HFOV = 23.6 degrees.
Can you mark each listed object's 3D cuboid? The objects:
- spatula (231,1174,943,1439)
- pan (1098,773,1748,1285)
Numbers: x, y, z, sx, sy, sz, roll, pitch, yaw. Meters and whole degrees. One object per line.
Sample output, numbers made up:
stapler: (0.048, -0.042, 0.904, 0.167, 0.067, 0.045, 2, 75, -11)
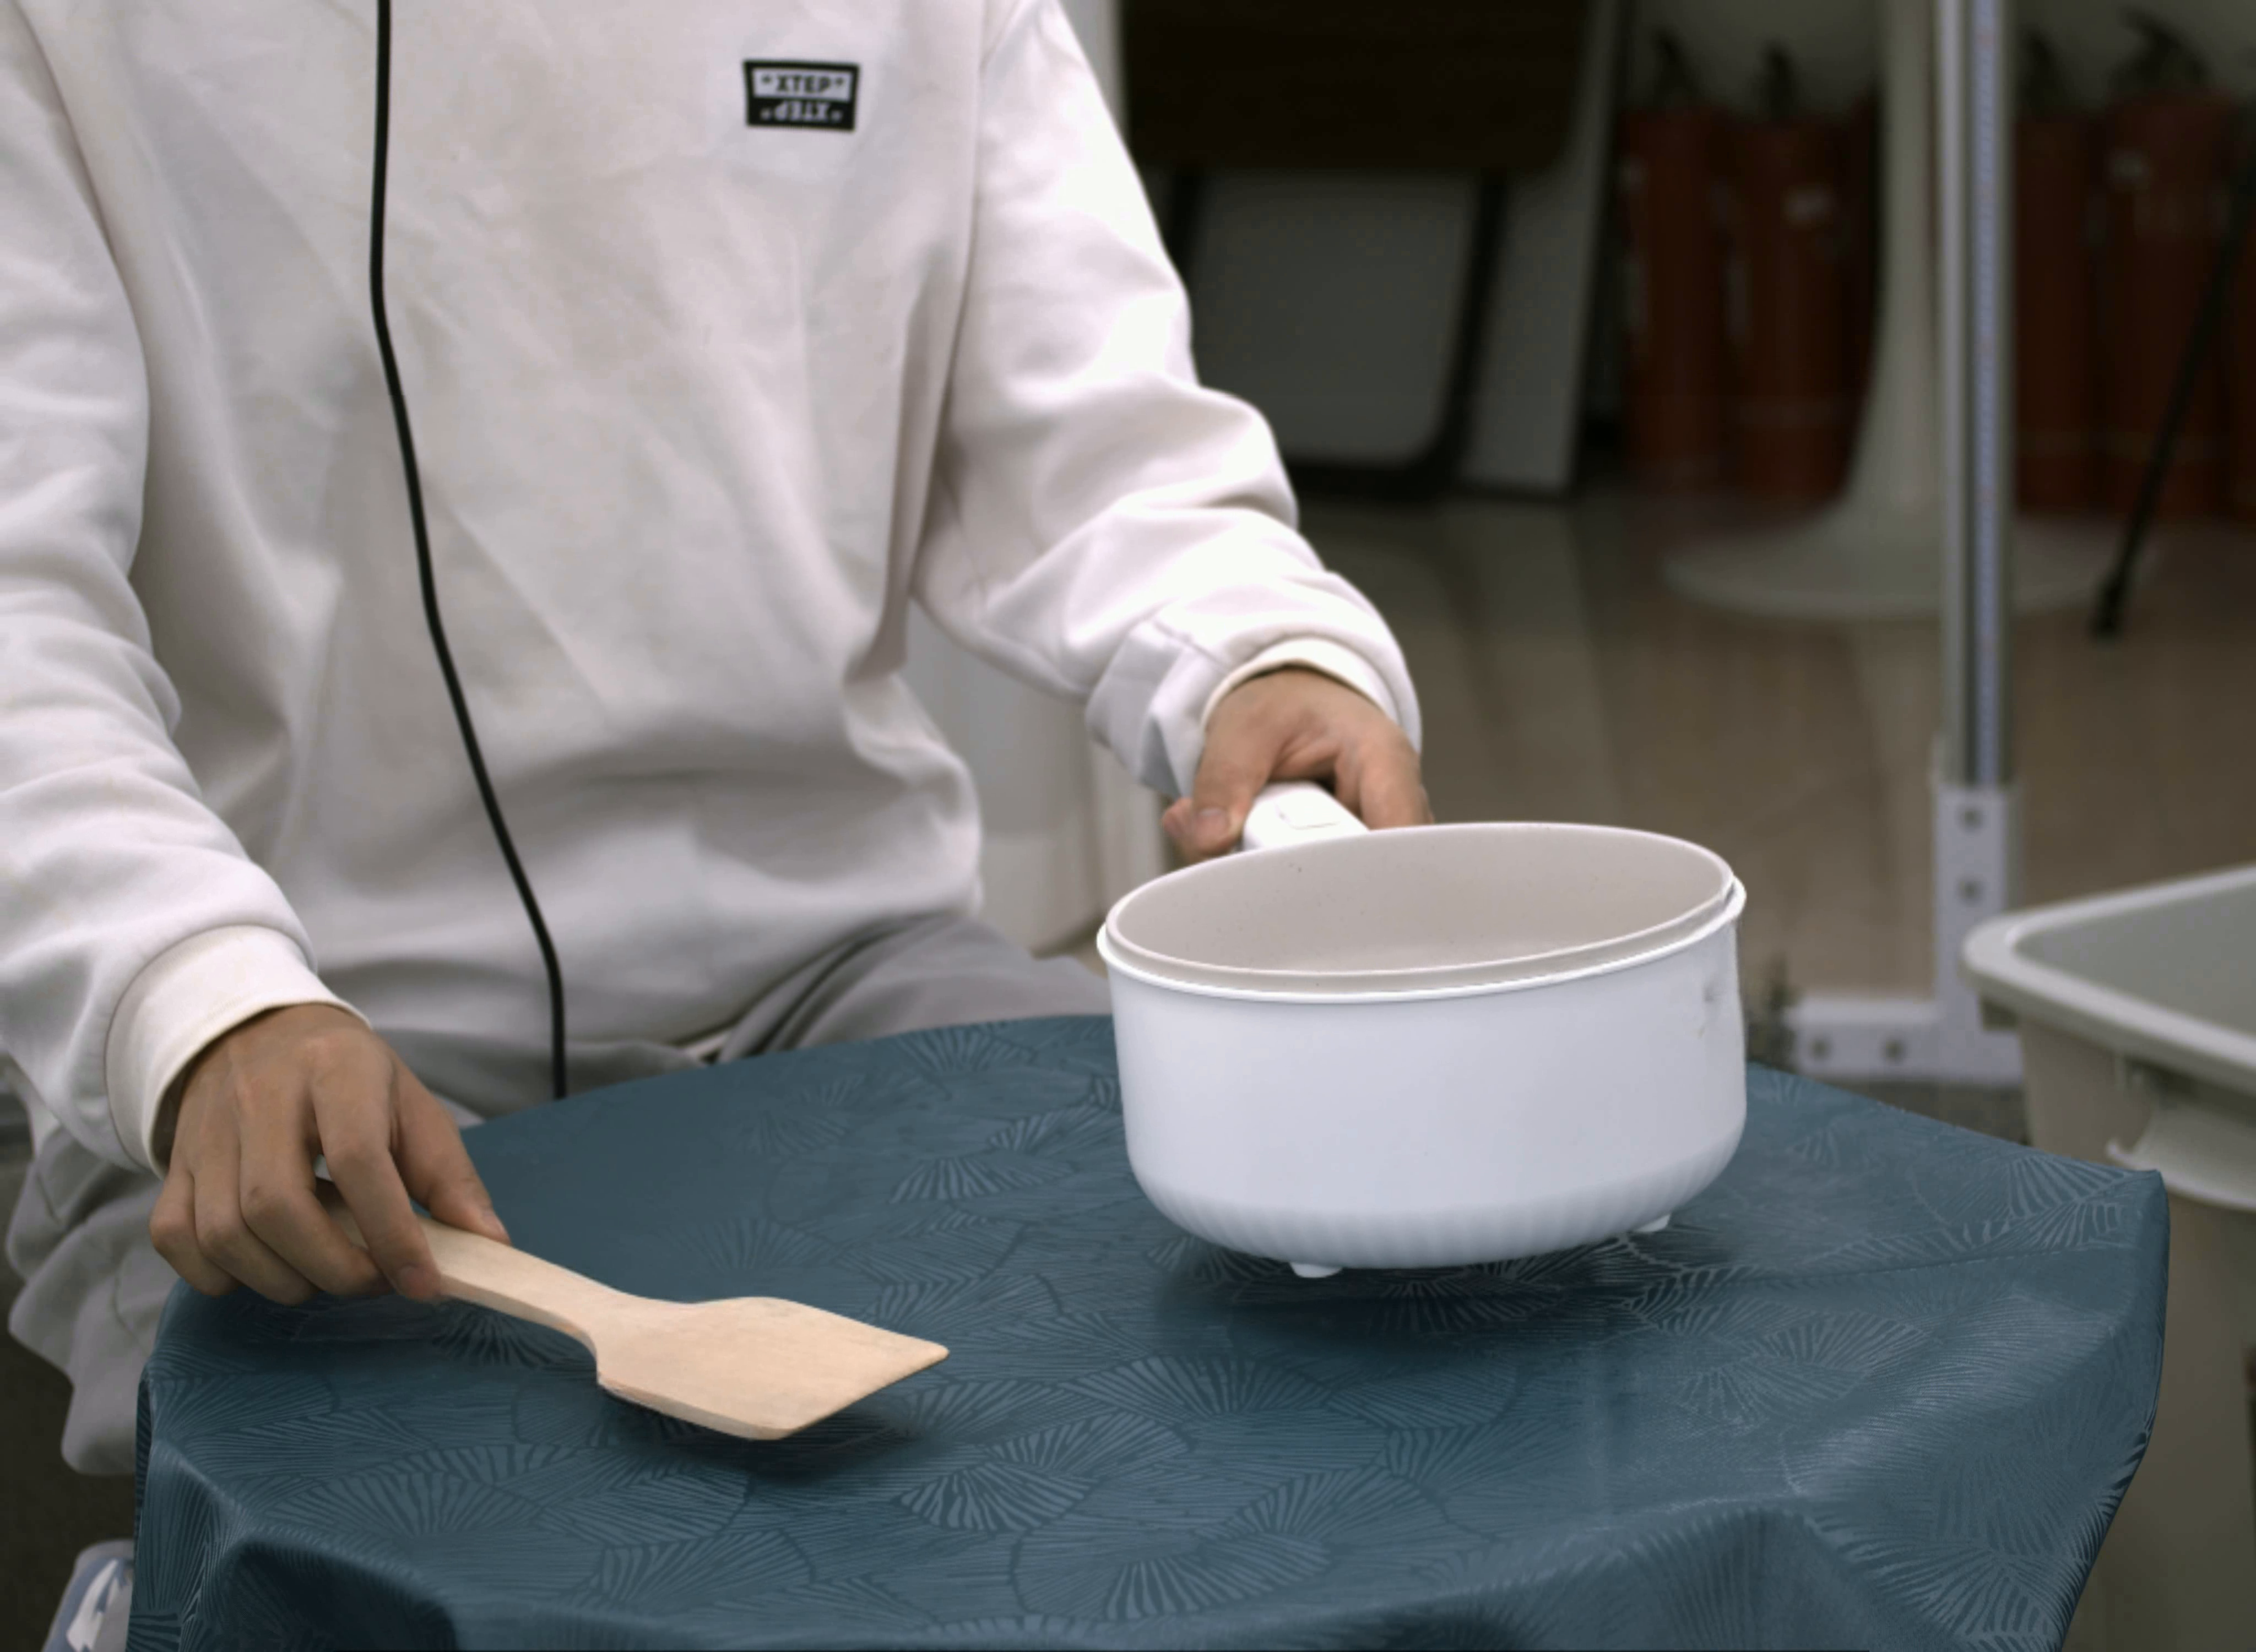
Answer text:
spatula: (-0.178, 0.142, 1.641, 0.071, 0.011, 0.296, -22, 24, -41)
pan: (0.080, 0.058, 1.737, 0.198, 0.103, 0.357, -9, 11, -9)
